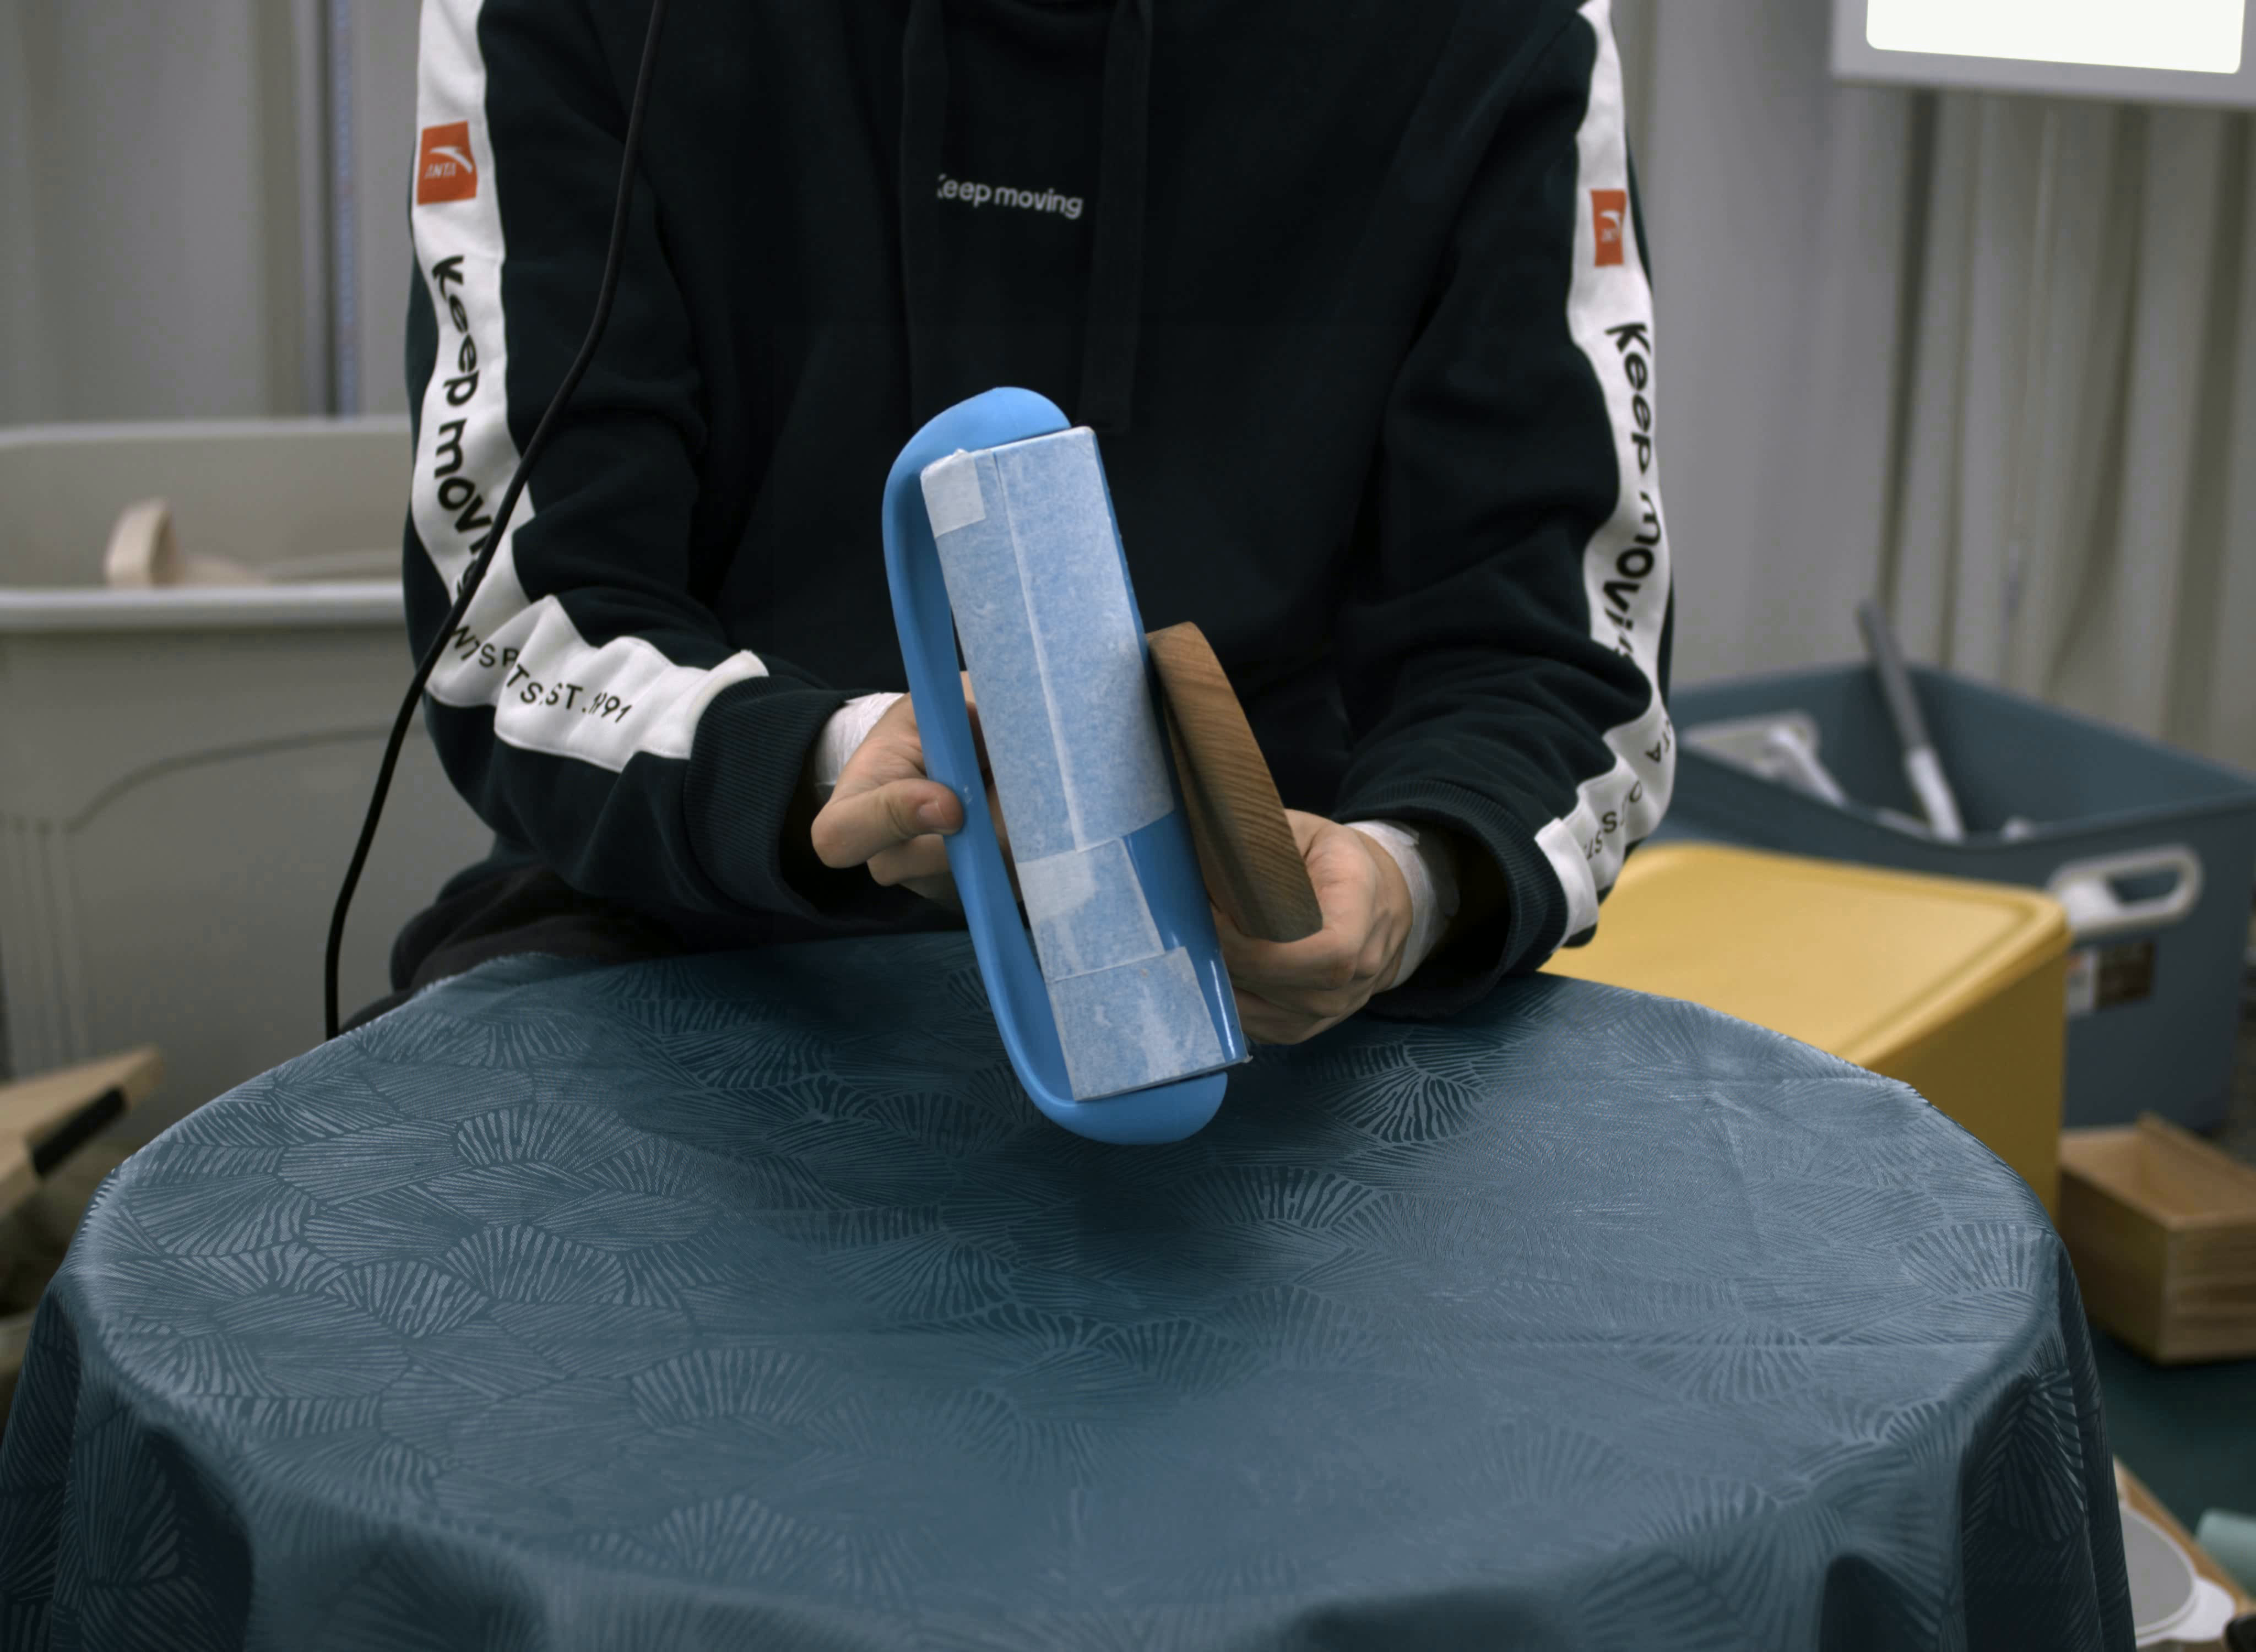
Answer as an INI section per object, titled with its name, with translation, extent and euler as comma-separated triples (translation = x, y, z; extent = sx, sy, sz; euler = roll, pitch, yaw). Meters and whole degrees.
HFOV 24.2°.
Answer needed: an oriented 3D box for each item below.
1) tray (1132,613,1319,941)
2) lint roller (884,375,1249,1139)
[tray]
translation = 0.023, -0.014, 1.612
extent = 0.020, 0.102, 0.230
euler = -21, 3, -6
[lint roller]
translation = -0.028, -0.013, 1.606
extent = 0.068, 0.229, 0.180
euler = -15, -2, -15
